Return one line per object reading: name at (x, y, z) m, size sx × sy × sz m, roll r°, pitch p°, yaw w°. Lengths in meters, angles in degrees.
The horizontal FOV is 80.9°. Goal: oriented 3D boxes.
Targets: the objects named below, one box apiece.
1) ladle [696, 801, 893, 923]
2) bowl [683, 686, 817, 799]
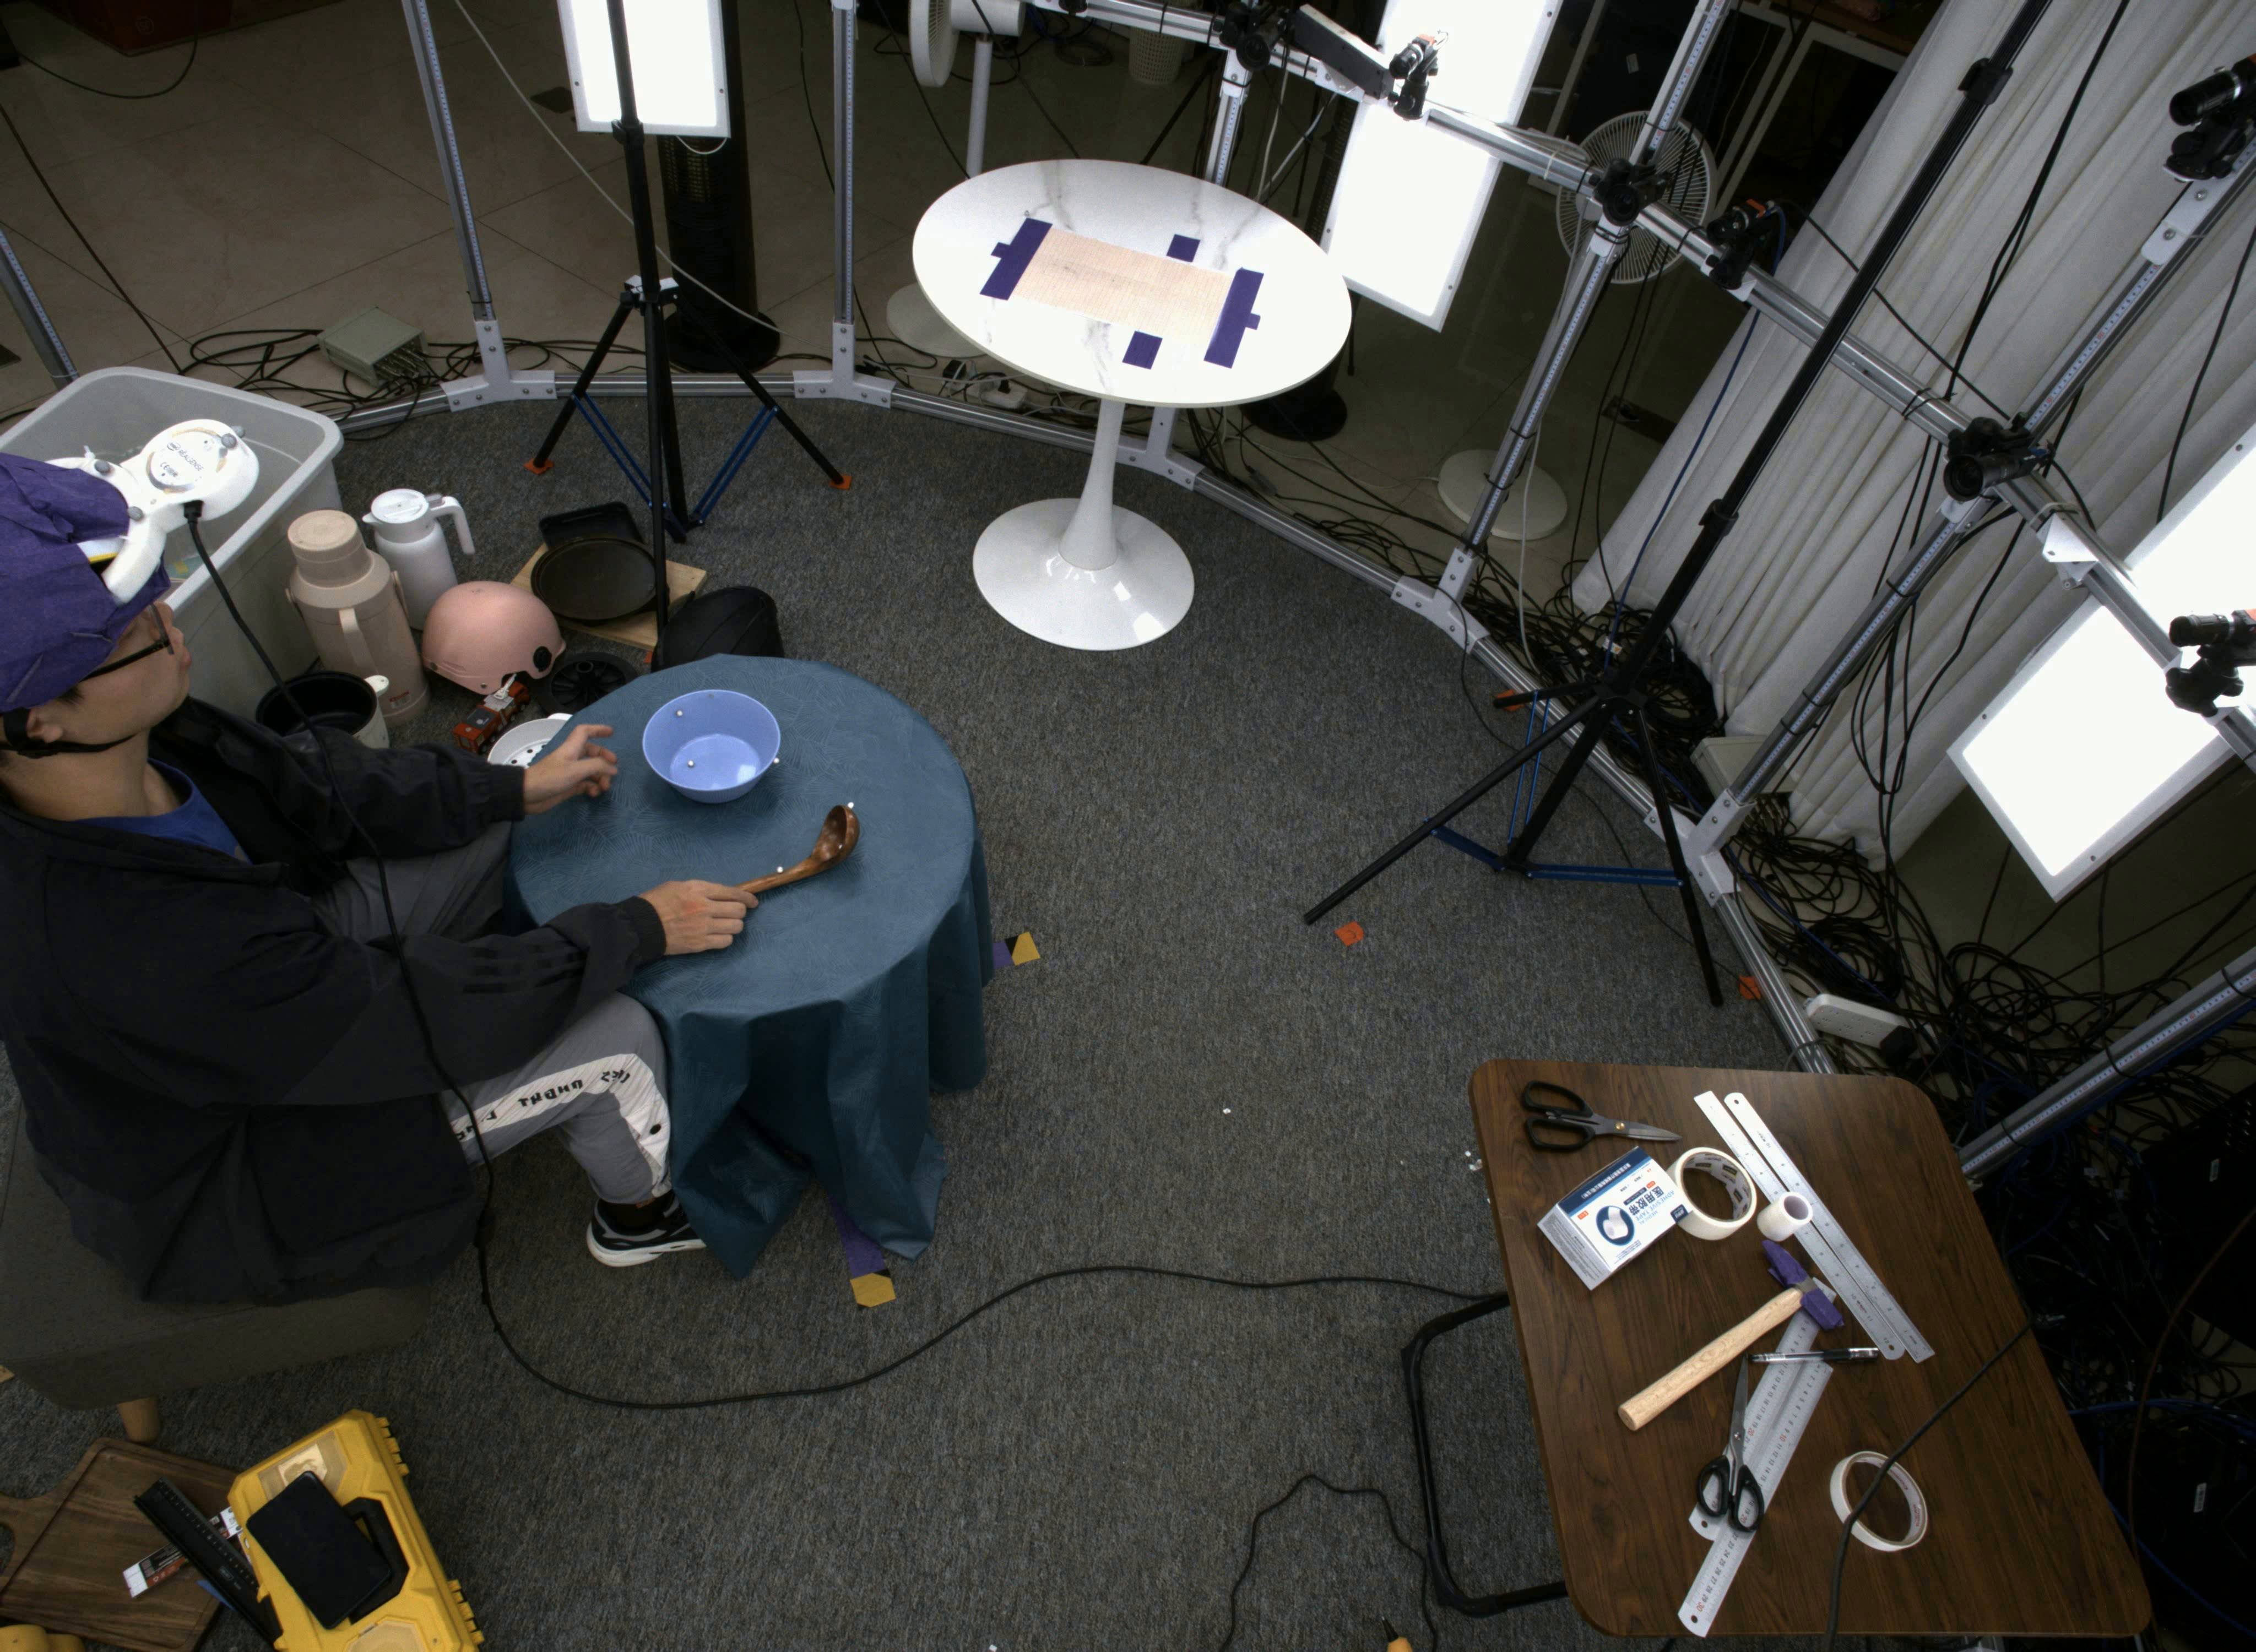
ladle at (-0.427, 0.041, 1.657) m, size 0.275 × 0.079 × 0.079 m, roll -19°, pitch 17°, yaw -23°
bowl at (-0.507, -0.102, 1.743) m, size 0.175 × 0.072 × 0.173 m, roll 7°, pitch 52°, yaw -8°
